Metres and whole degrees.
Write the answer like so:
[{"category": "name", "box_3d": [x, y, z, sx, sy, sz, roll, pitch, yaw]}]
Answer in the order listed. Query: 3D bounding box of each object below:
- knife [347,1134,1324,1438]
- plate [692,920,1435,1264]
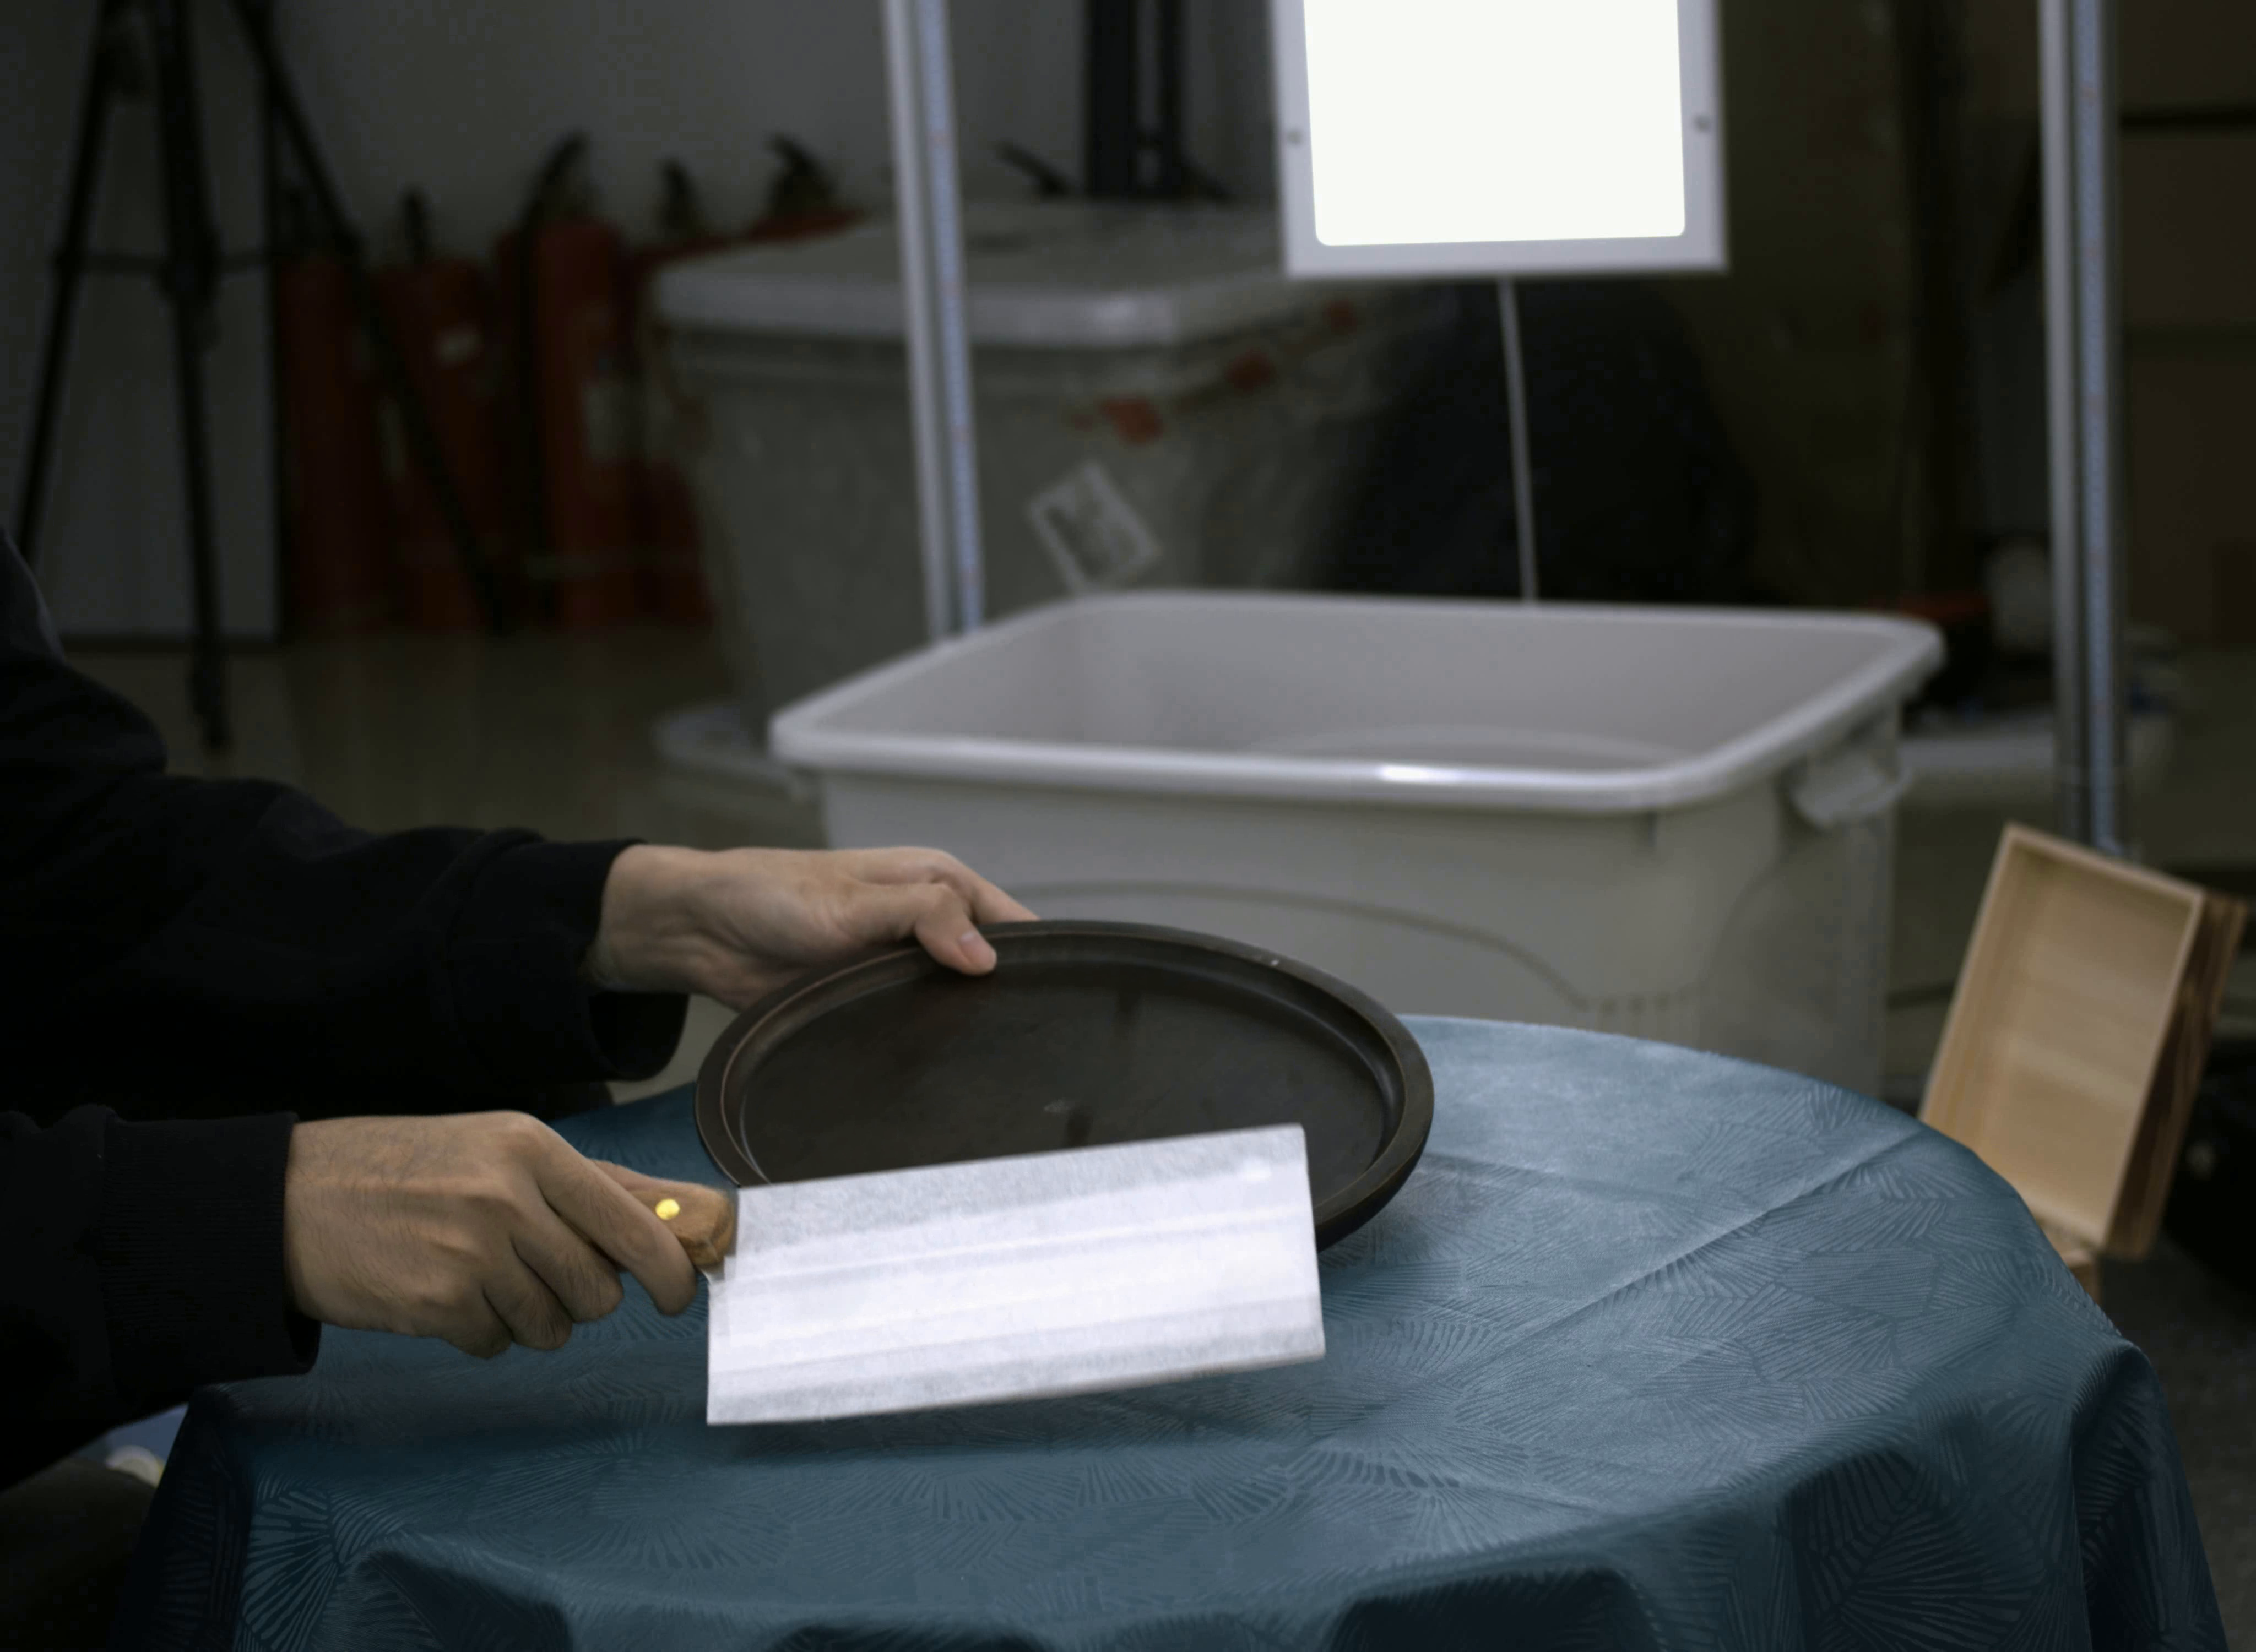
[{"category": "knife", "box_3d": [-0.092, 0.146, 1.696, 0.306, 0.021, 0.093, -7, 49, 6]}, {"category": "plate", "box_3d": [-0.021, 0.096, 1.875, 0.254, 0.029, 0.254, -1, 24, -1]}]
